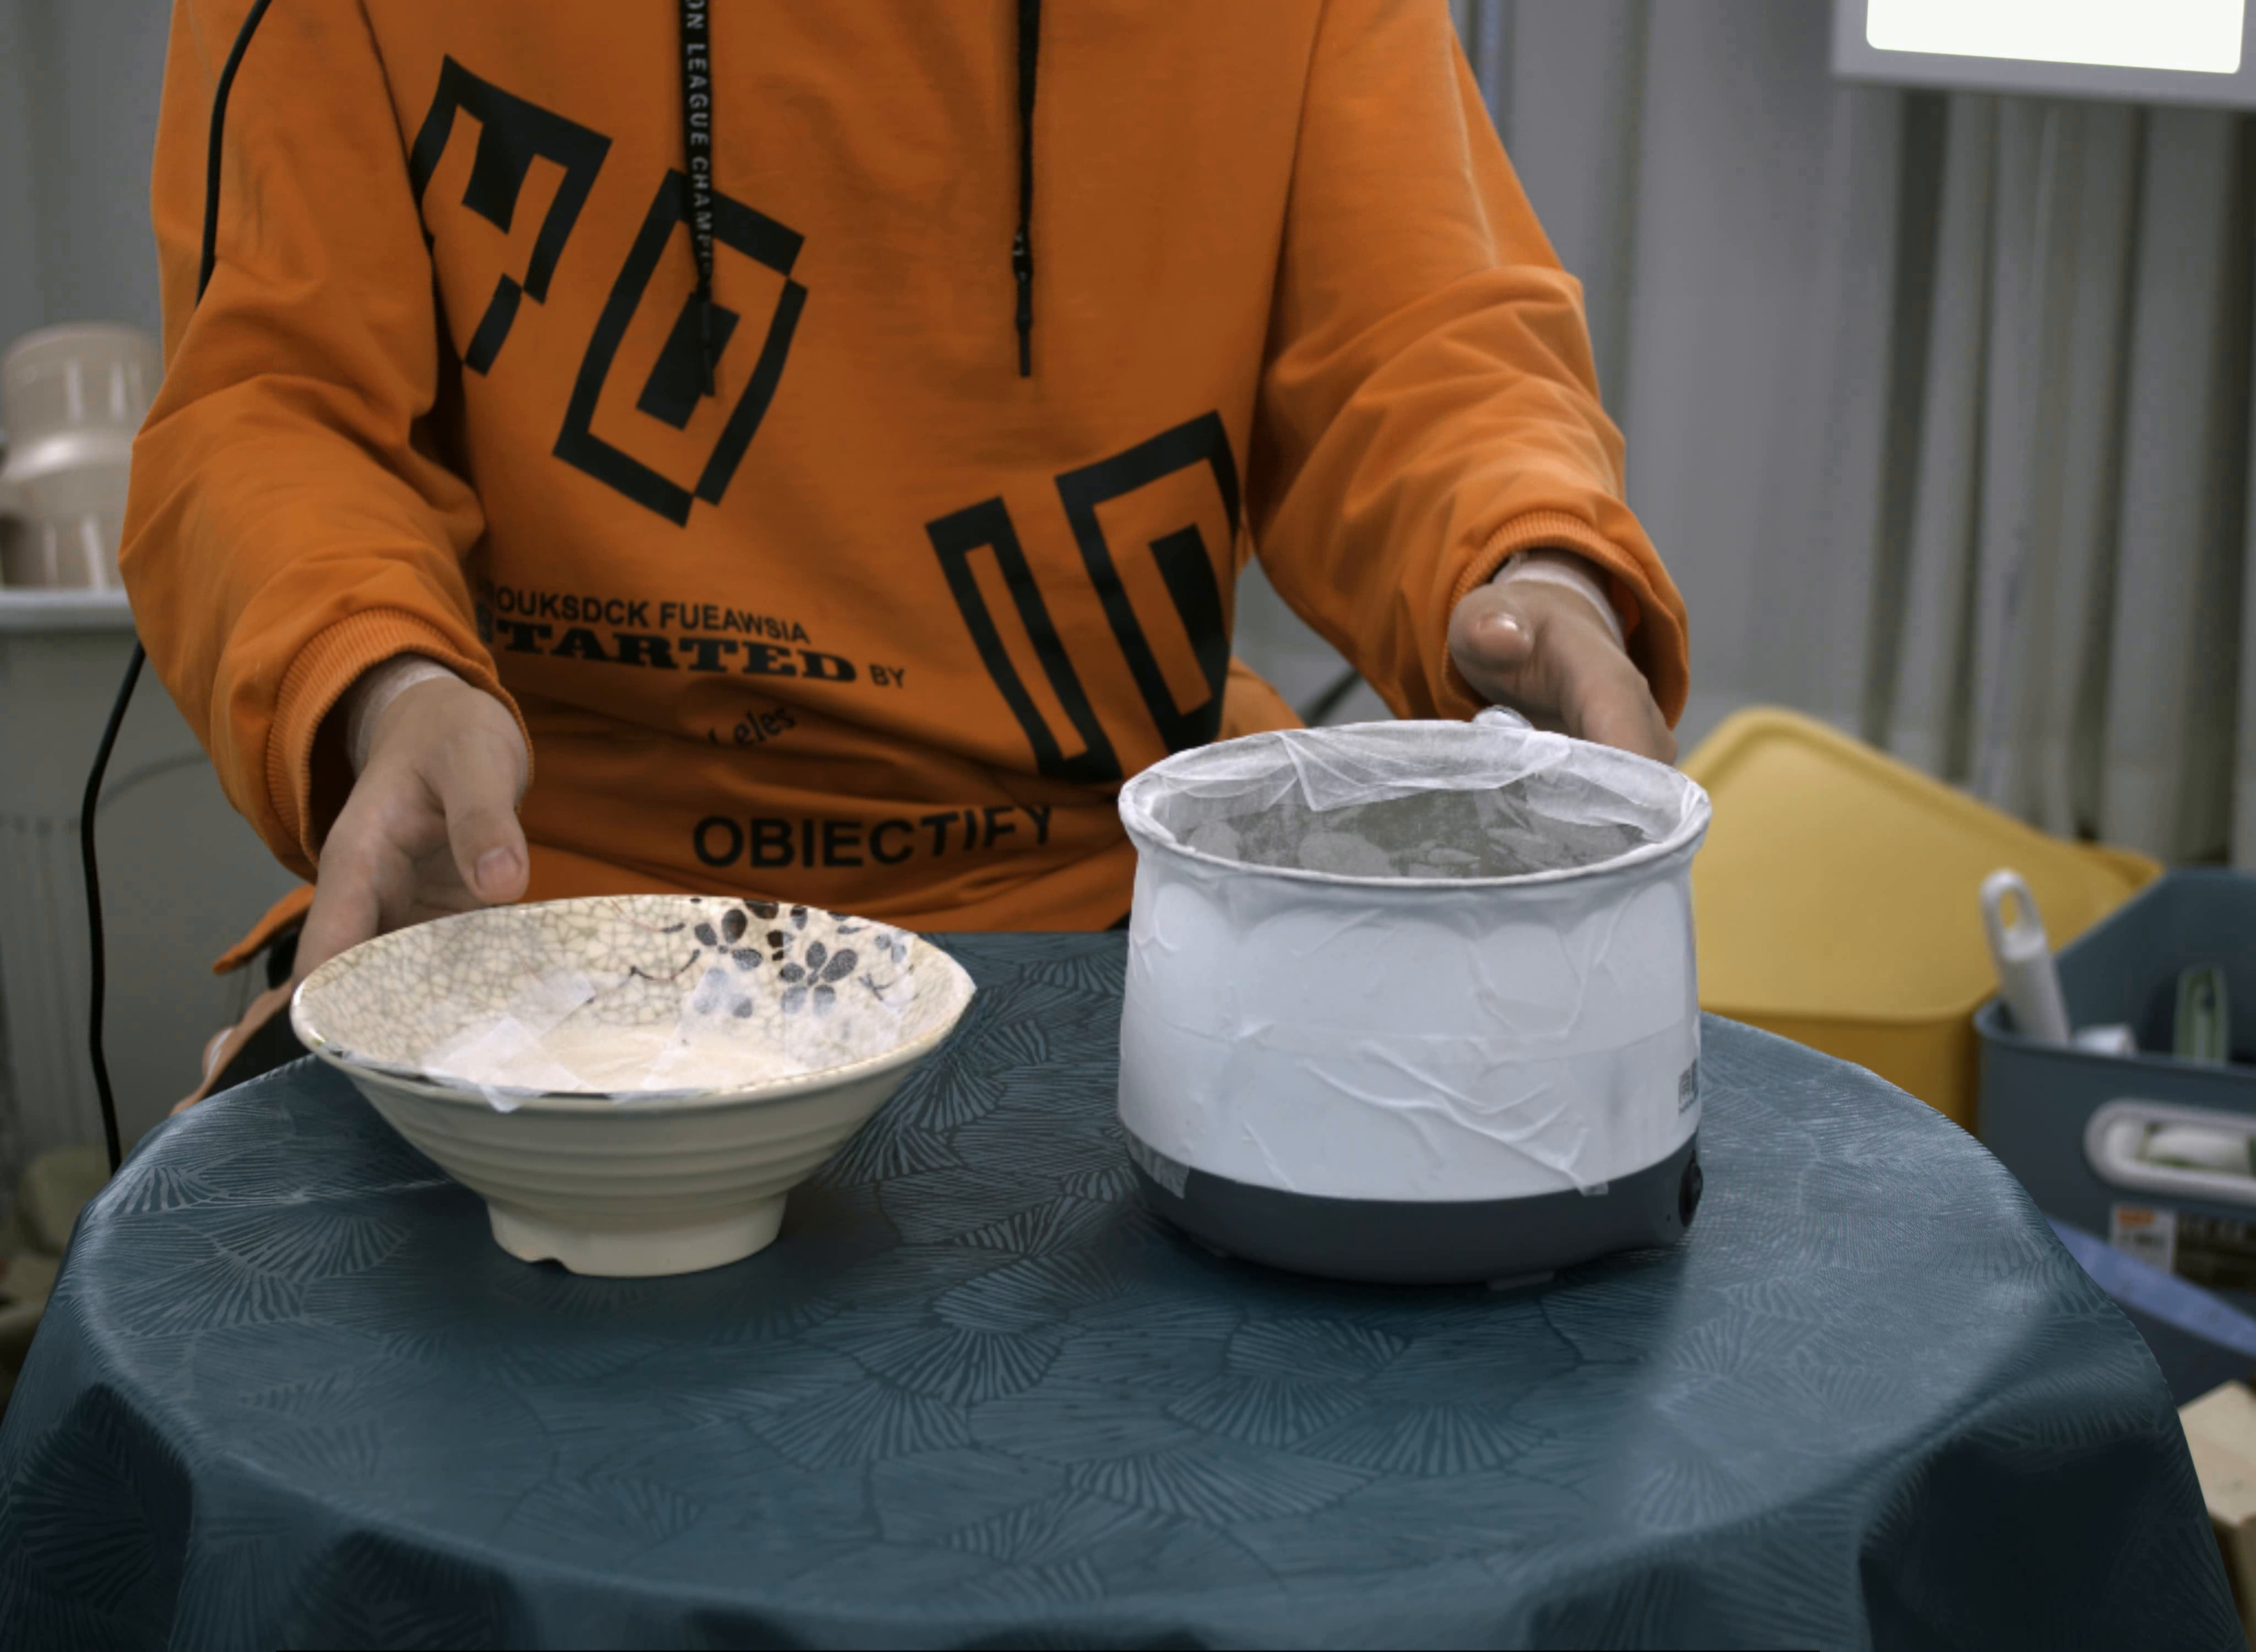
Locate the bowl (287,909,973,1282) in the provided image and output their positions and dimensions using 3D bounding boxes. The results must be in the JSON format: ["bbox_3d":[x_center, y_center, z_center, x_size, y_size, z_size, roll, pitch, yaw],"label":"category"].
[{"bbox_3d":[-0.147,0.086,1.573,0.203,0.078,0.203,0,13,1],"label":"bowl"}]

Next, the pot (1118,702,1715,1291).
[{"bbox_3d":[0.093,0.045,1.609,0.177,0.138,0.233,5,17,16],"label":"pot"}]
